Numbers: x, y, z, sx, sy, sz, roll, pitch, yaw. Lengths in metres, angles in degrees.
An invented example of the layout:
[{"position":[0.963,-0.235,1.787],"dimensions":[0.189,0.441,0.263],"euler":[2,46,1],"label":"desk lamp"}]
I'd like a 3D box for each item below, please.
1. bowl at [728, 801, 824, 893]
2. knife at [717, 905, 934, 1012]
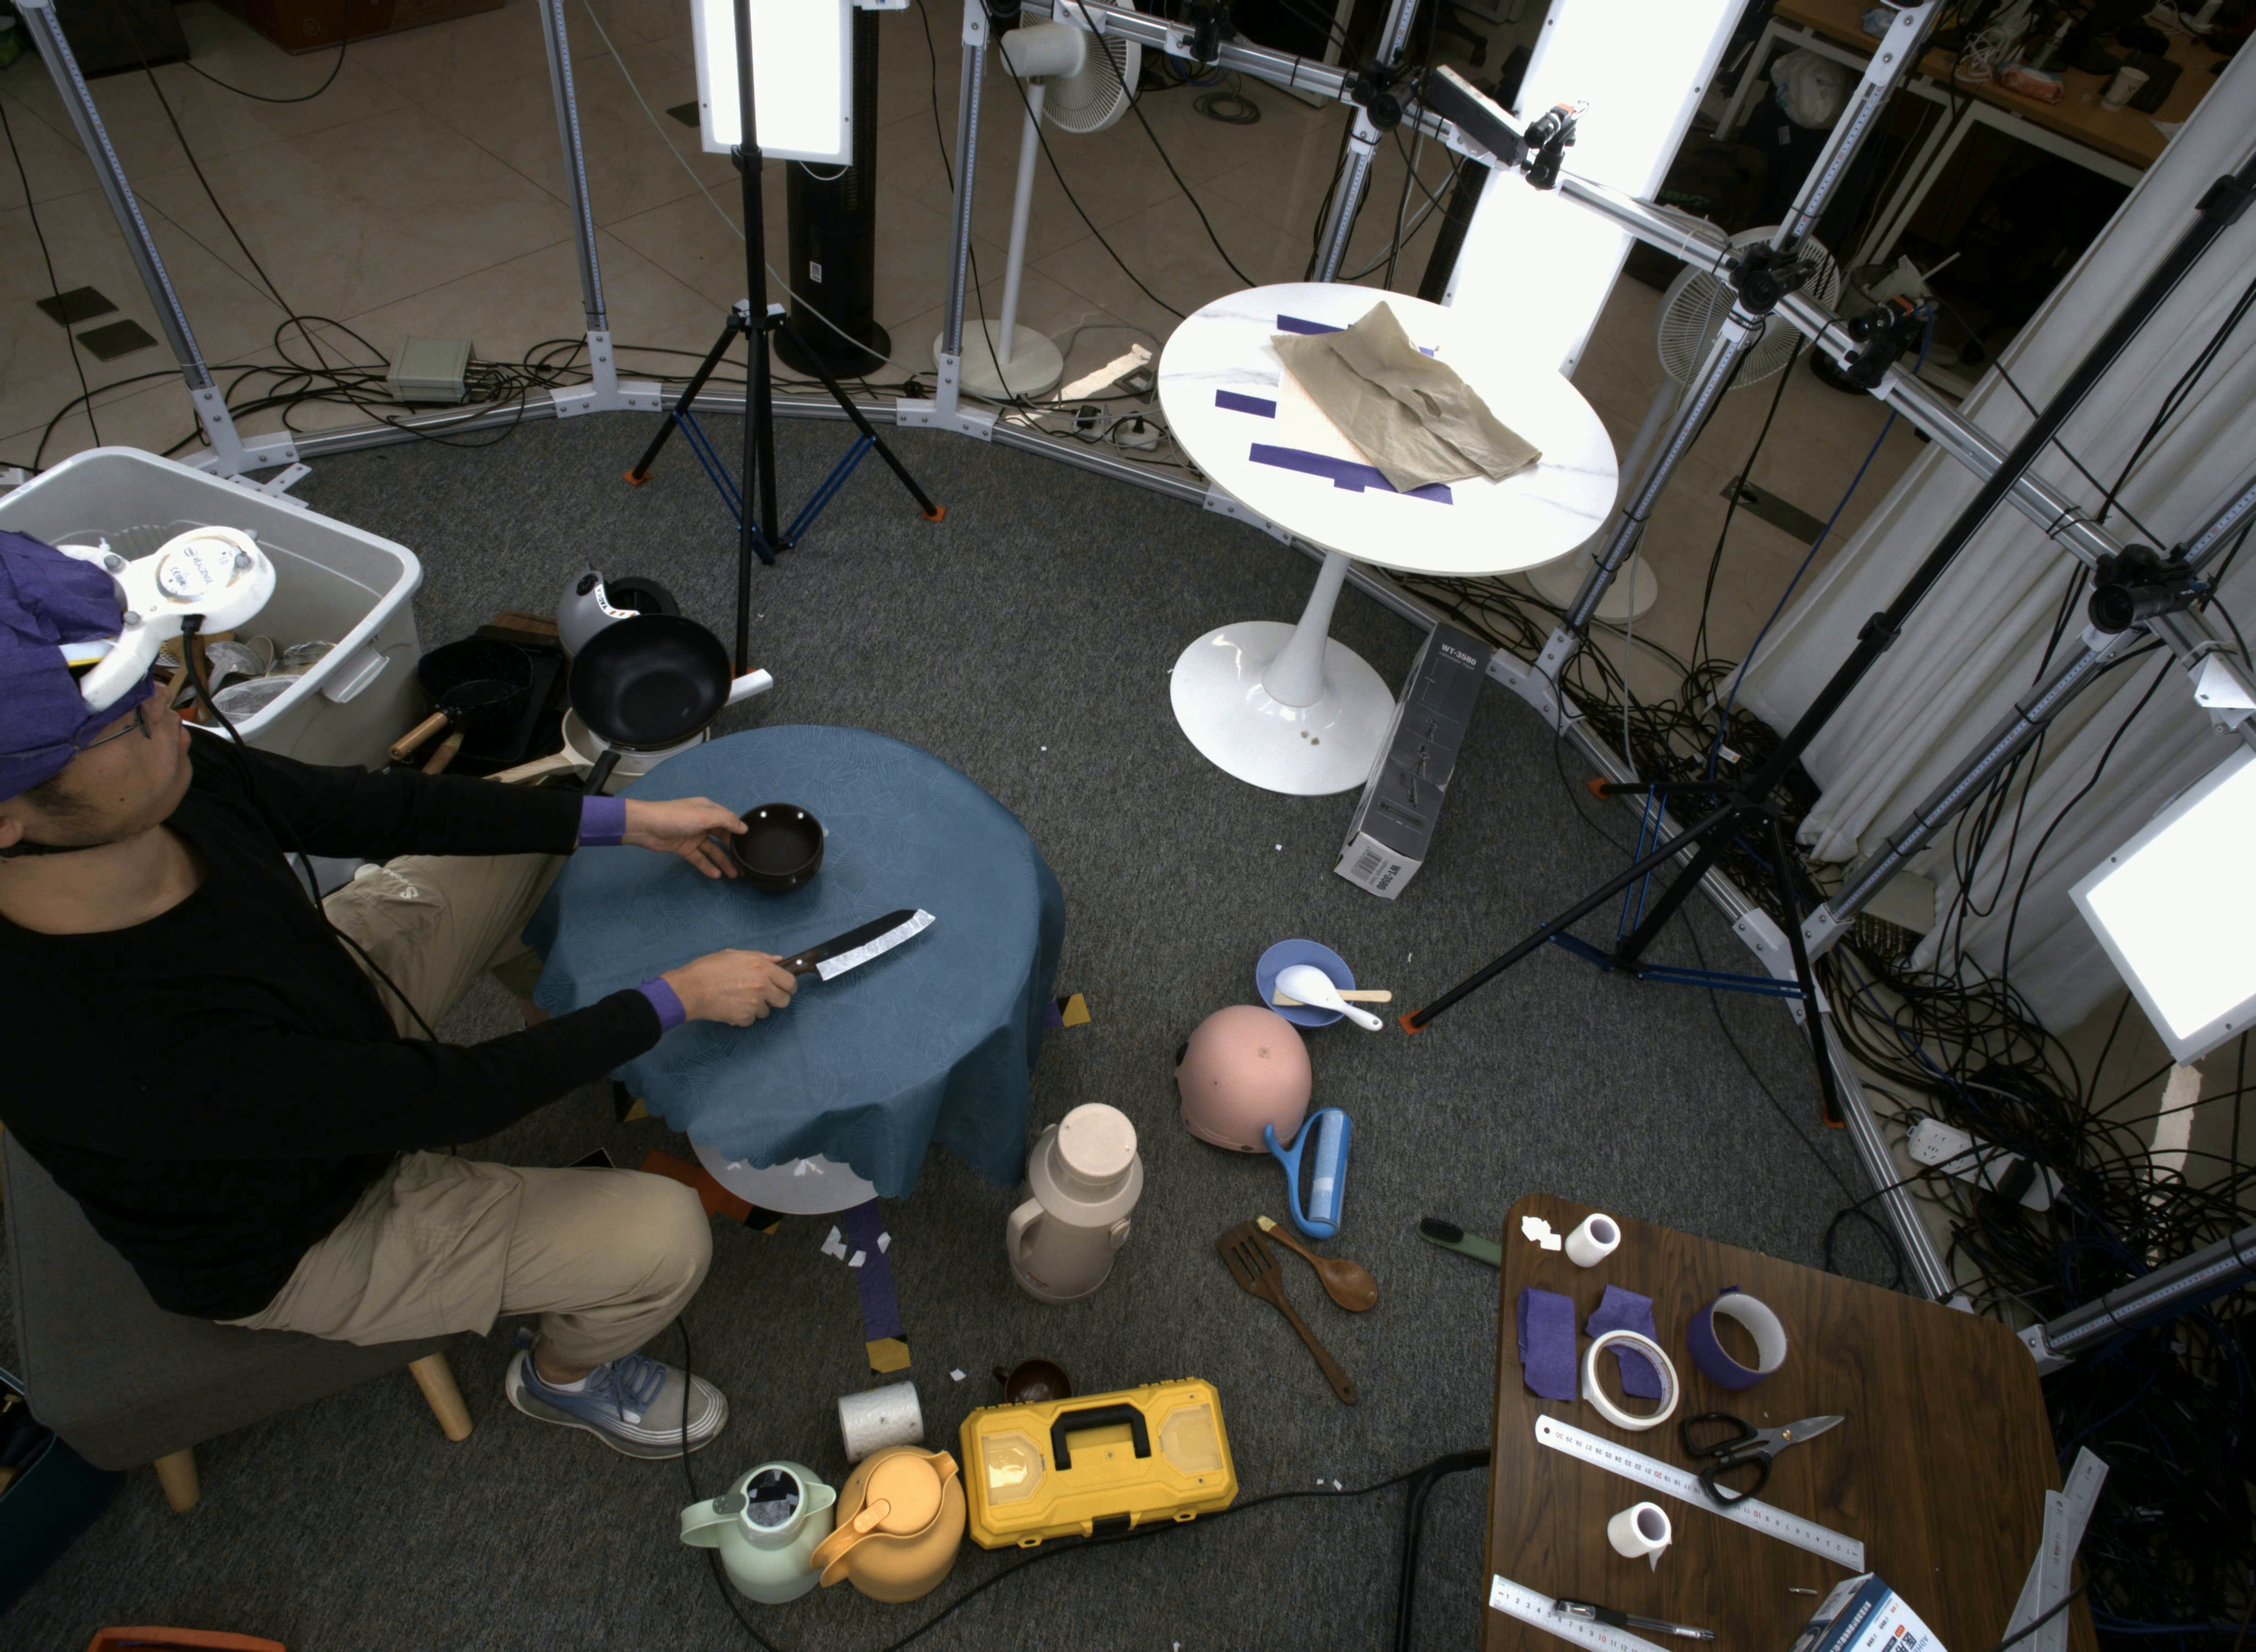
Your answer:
[{"position":[-0.445,0.033,1.644],"dimensions":[0.117,0.071,0.116],"euler":[7,52,-7],"label":"bowl"},{"position":[-0.362,0.157,1.579],"dimensions":[0.291,0.020,0.050],"euler":[-23,80,-32],"label":"knife"}]
